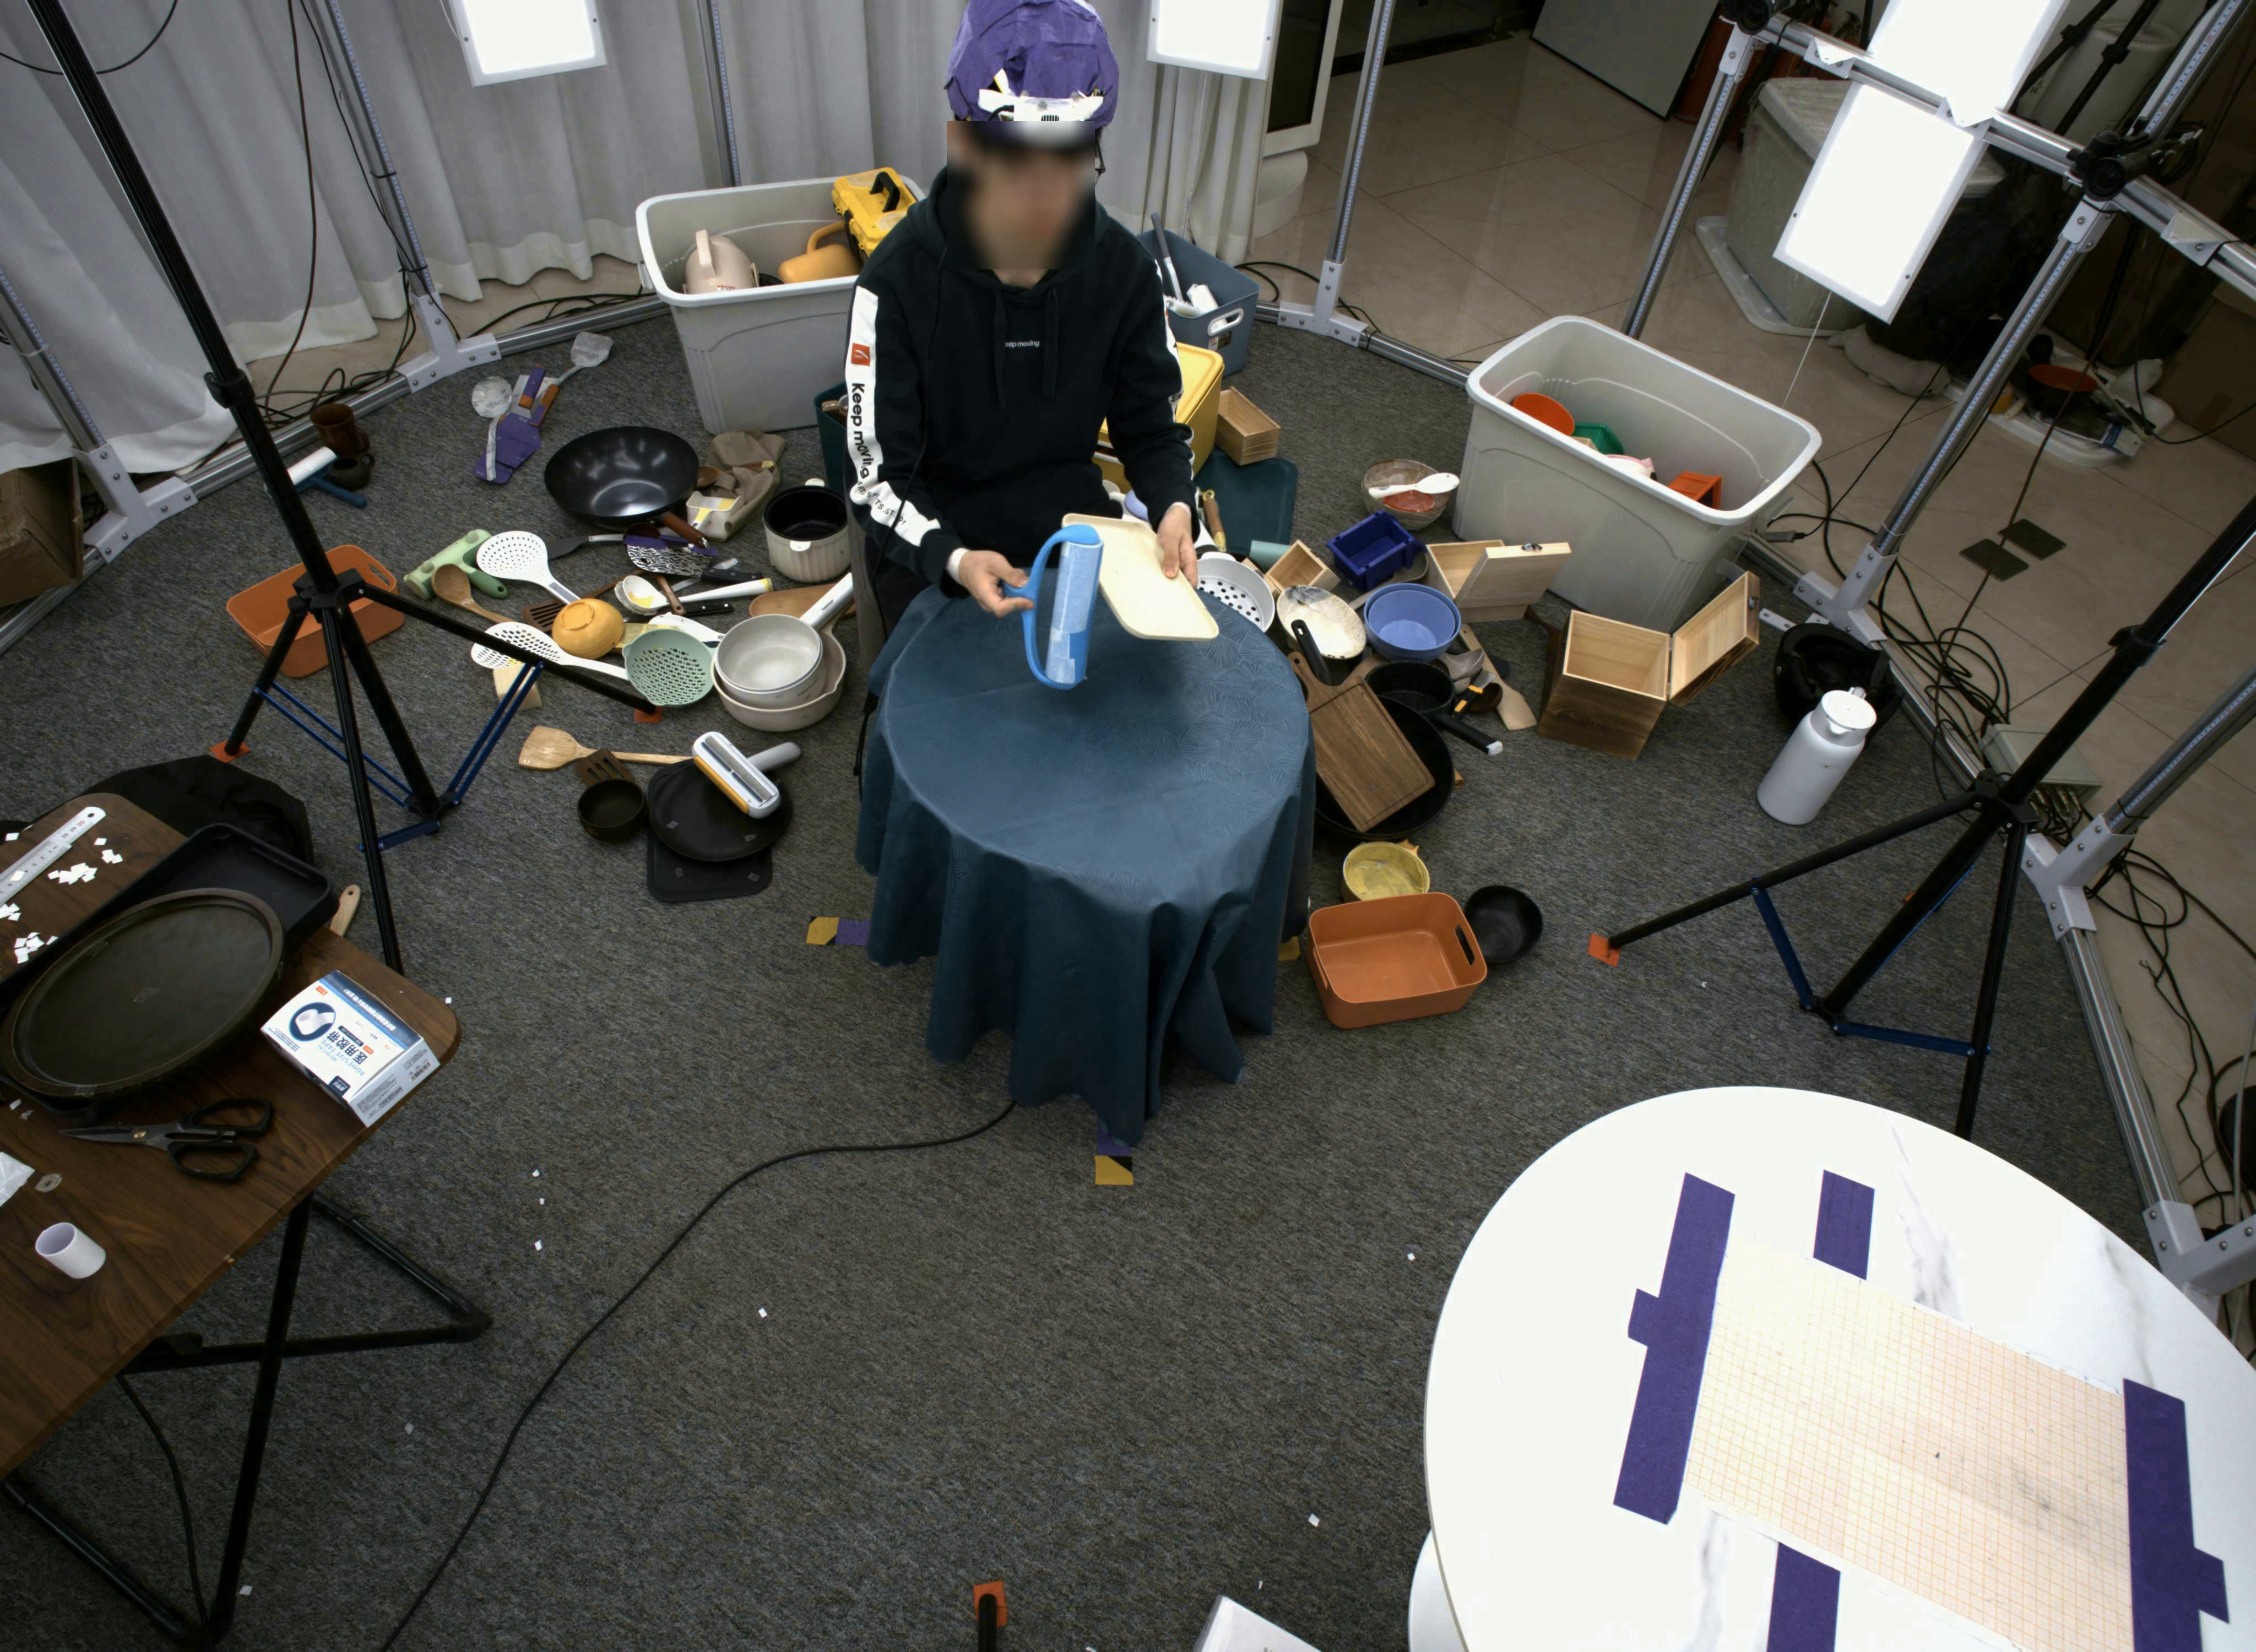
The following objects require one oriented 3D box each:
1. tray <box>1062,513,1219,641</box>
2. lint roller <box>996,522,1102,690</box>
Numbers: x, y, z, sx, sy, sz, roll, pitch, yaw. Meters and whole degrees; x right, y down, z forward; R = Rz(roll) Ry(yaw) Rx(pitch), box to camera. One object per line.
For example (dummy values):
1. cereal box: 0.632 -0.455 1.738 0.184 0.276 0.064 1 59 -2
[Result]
1. tray: 0.015 -0.340 1.765 0.170 0.017 0.244 -4 52 -39
2. lint roller: -0.121 -0.305 1.717 0.182 0.224 0.068 21 31 28
